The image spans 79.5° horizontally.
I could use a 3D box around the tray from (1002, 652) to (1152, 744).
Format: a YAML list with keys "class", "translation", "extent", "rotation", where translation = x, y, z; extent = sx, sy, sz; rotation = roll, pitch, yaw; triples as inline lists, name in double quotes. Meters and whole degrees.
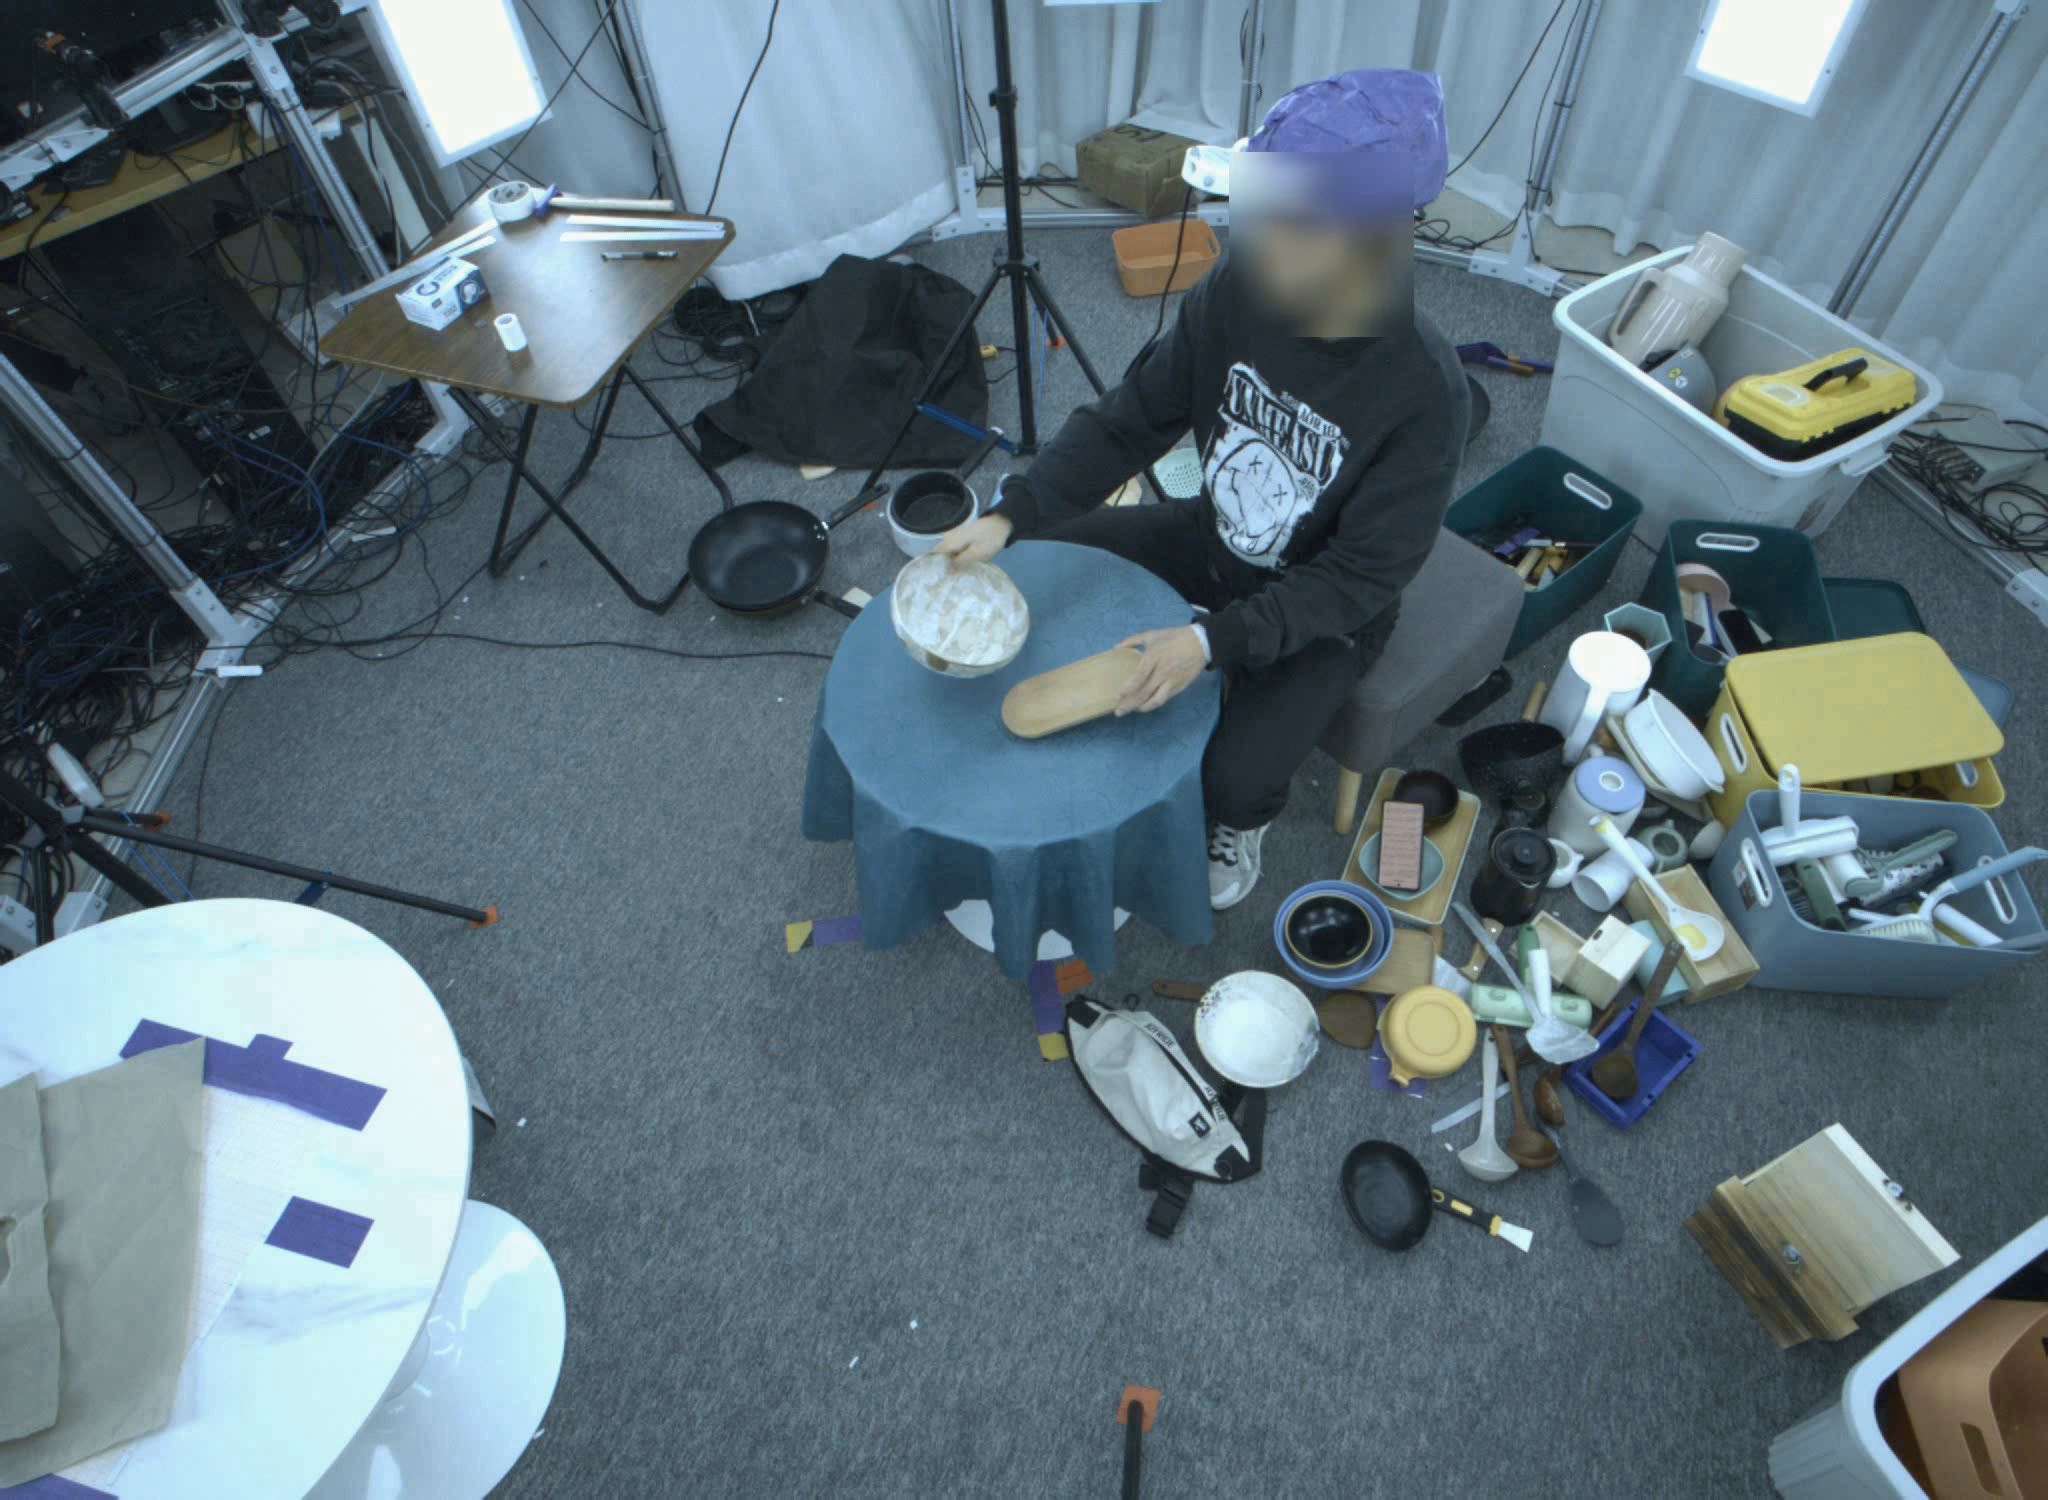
- class: "tray"
  translation: [0.077, -0.076, 1.804]
  extent: [0.230, 0.021, 0.100]
  rotation: [-21, 55, 9]

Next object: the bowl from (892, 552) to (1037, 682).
- class: "bowl"
  translation: [-0.096, -0.175, 1.775]
  extent: [0.218, 0.094, 0.212]
  rotation: [12, 57, -17]
